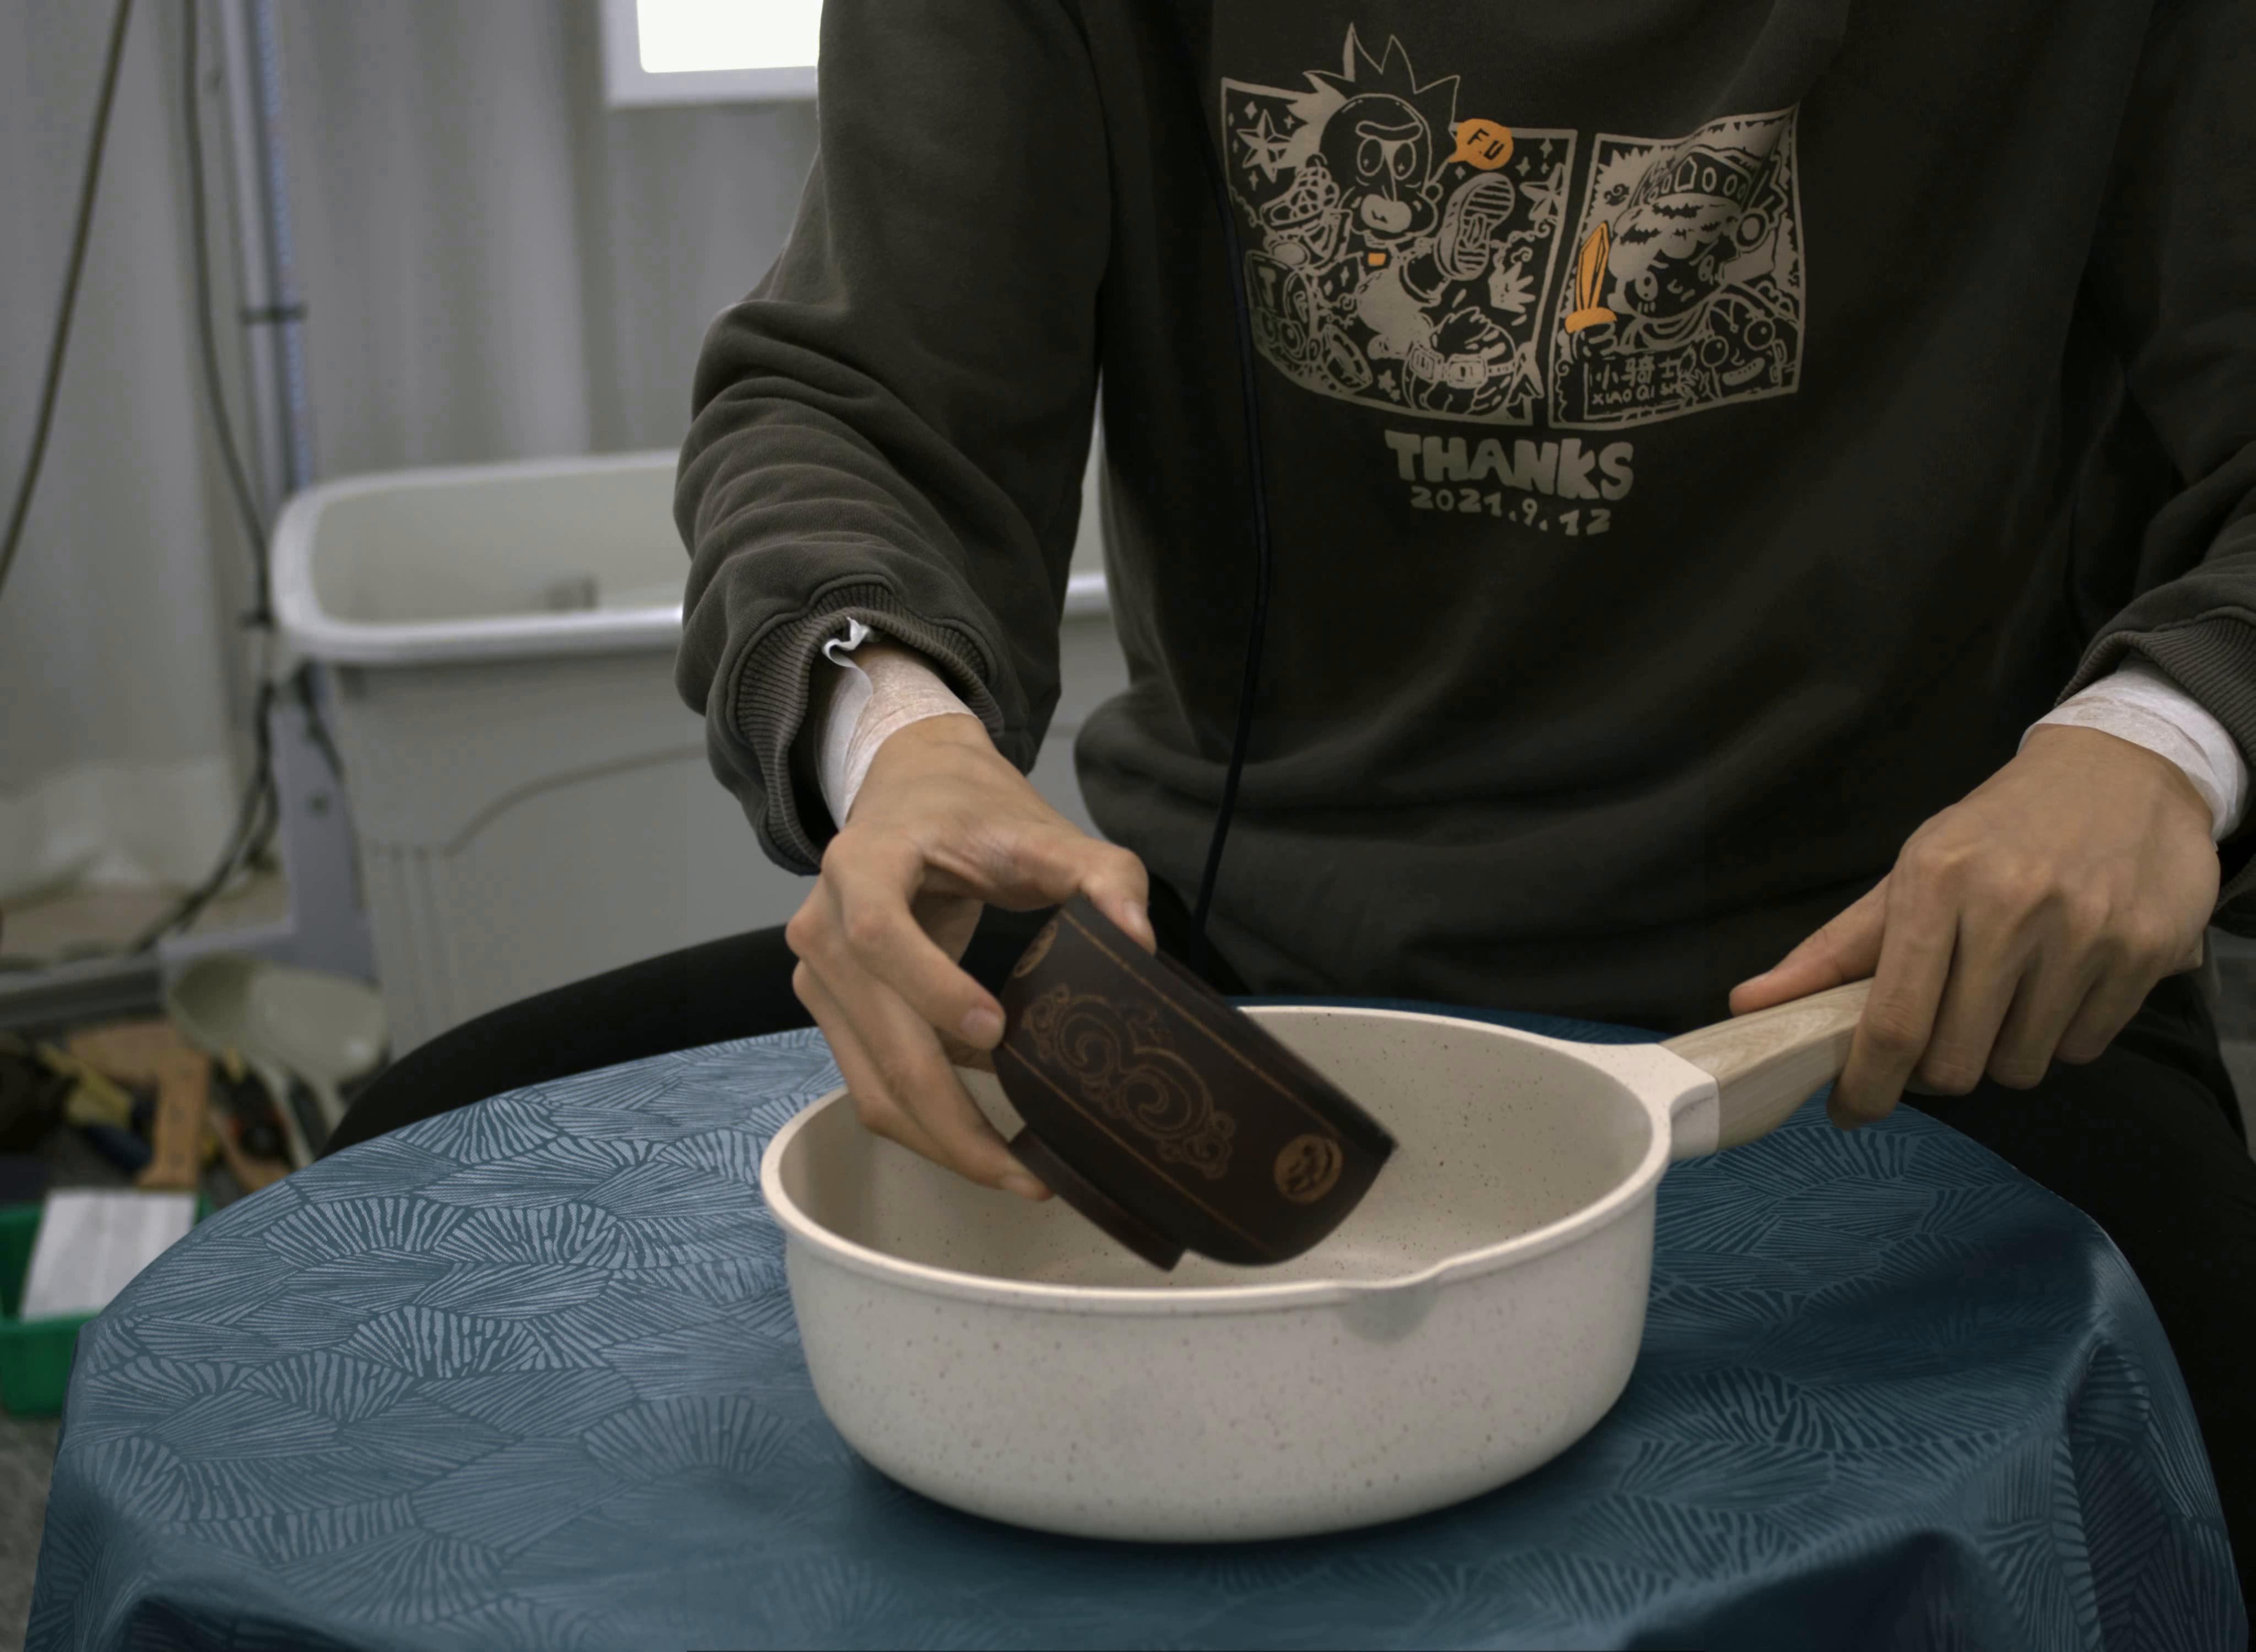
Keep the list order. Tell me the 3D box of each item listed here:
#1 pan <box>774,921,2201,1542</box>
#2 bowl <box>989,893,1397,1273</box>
[{"bbox_3d":[0.114,0.107,1.541,0.433,0.101,0.265,-8,14,-20],"label":"pan"},{"bbox_3d":[0.010,0.080,1.522,0.118,0.070,0.118,38,-1,0],"label":"bowl"}]
